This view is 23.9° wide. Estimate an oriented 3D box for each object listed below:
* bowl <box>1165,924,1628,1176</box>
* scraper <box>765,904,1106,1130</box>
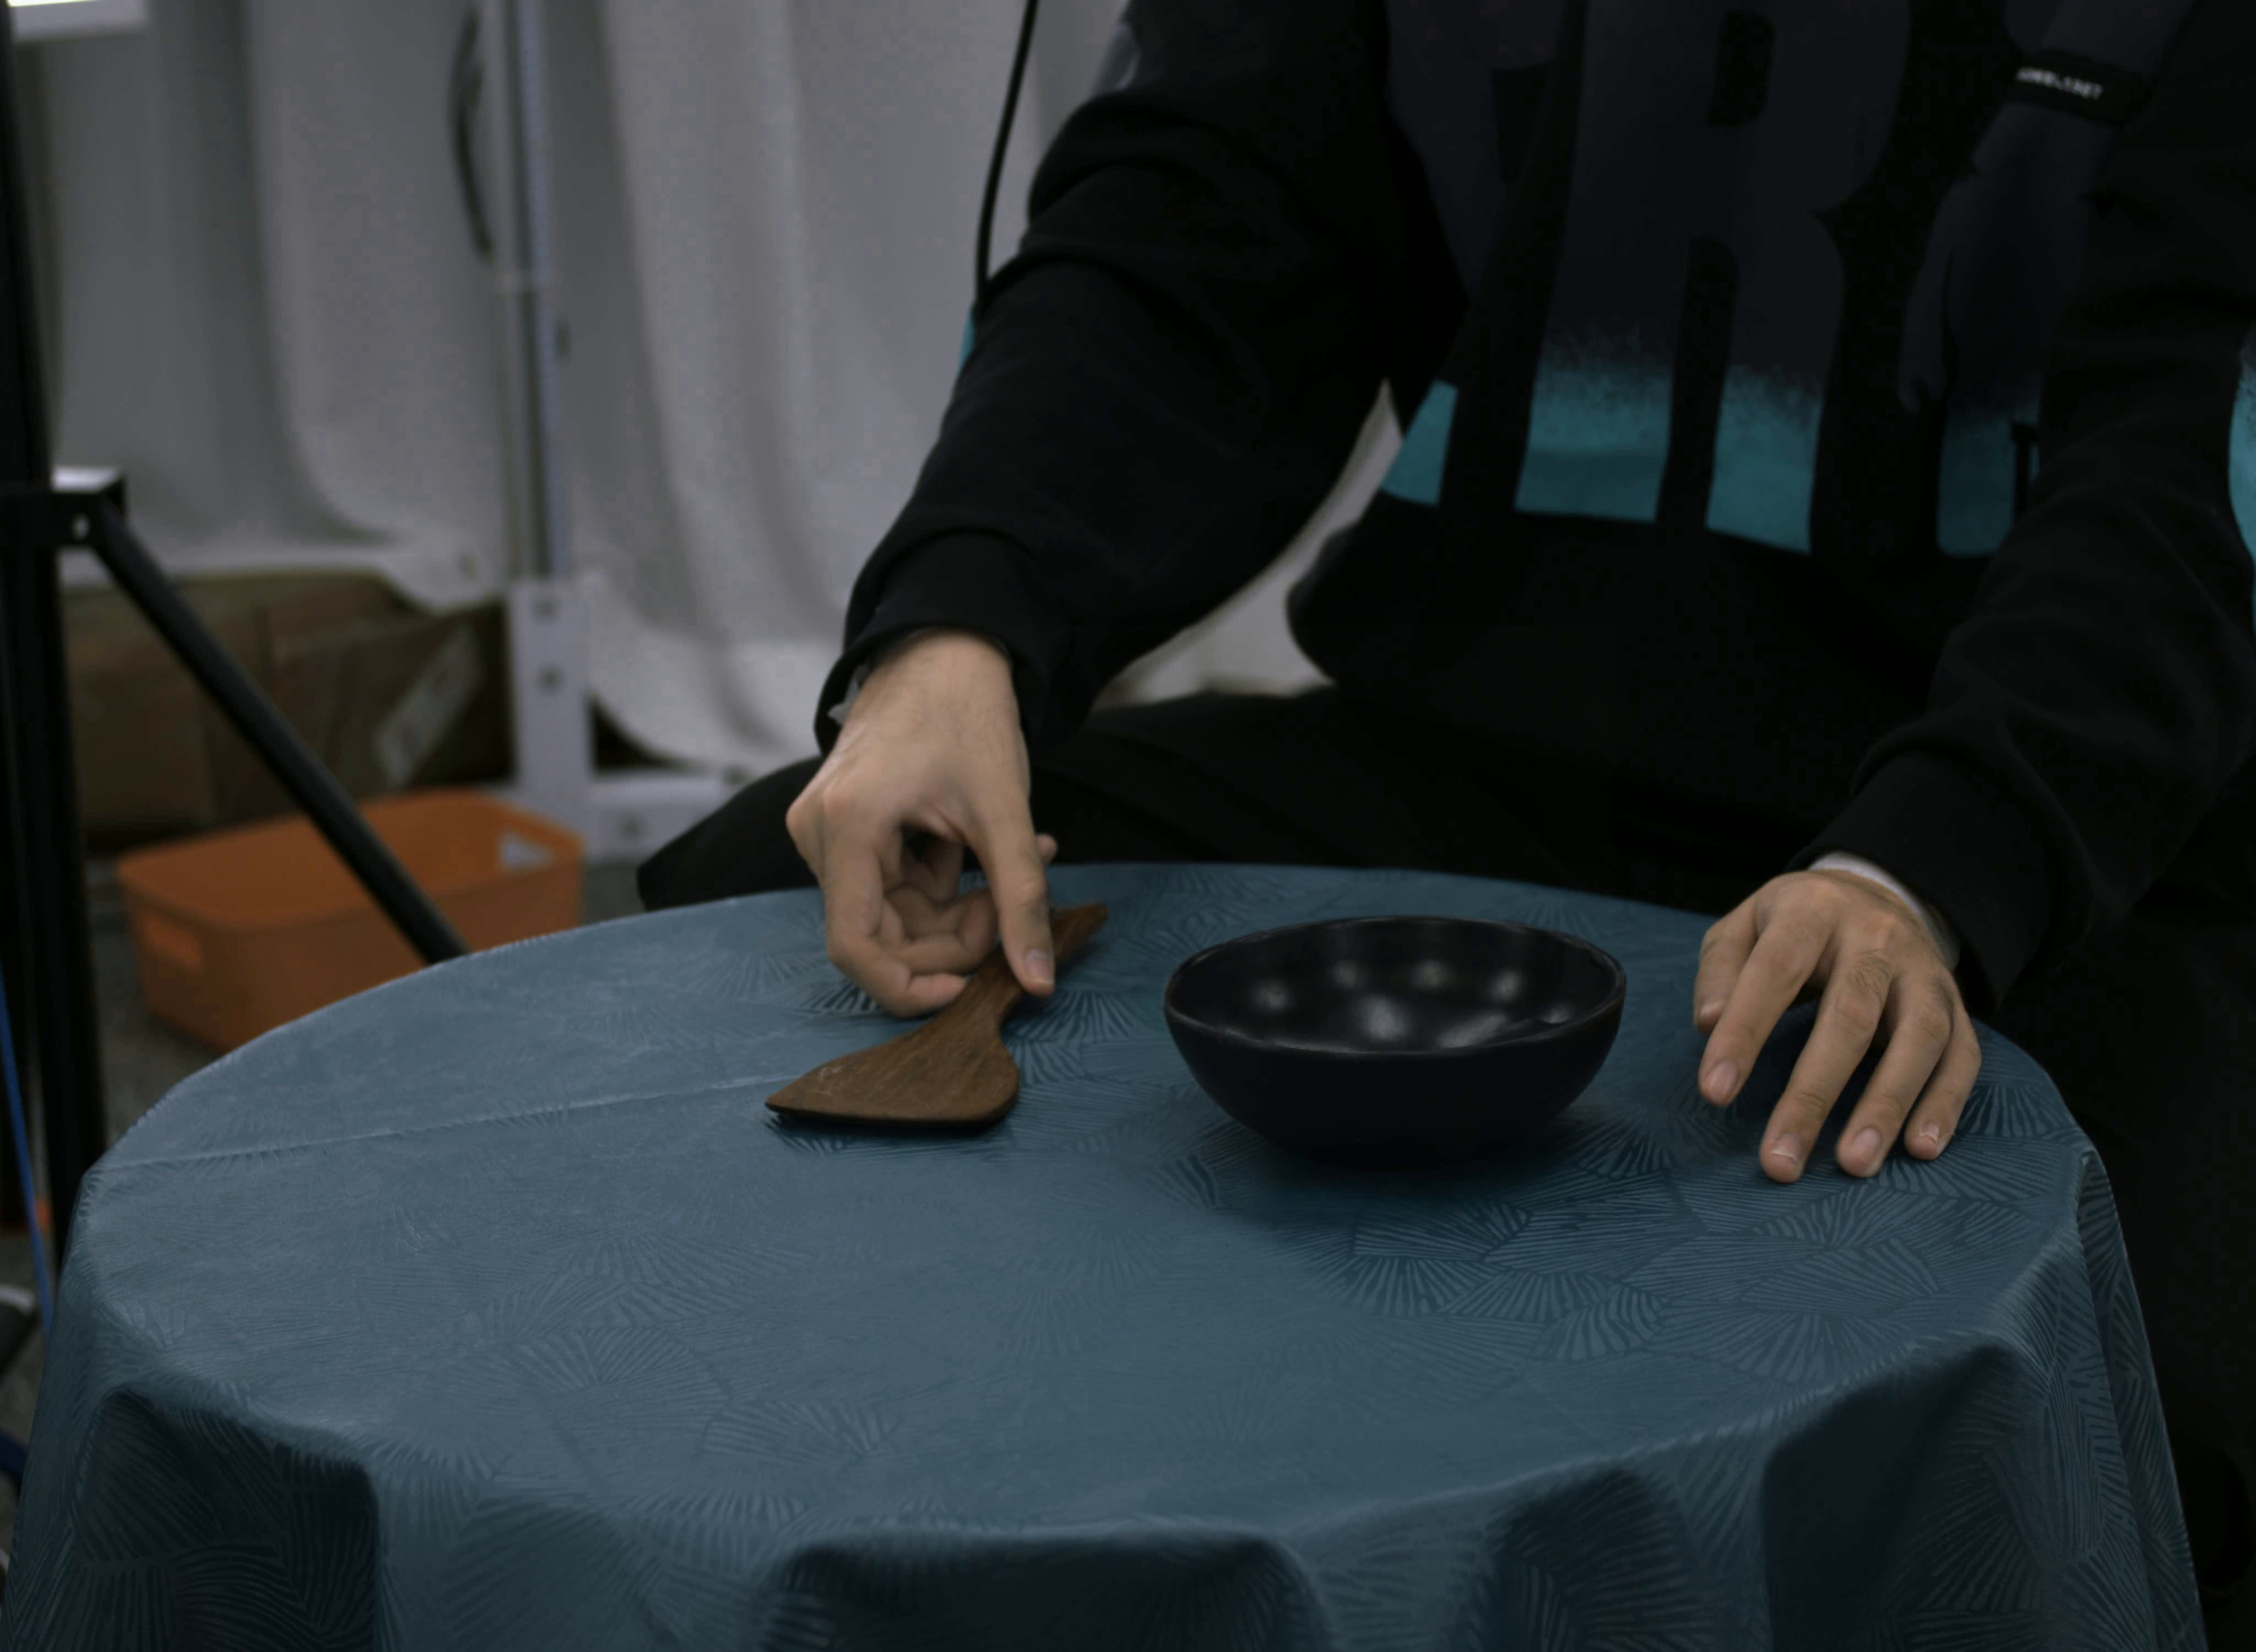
[{"bbox_3d":[0.082,0.071,1.589,0.139,0.050,0.140,-5,14,0],"label":"bowl"},{"bbox_3d":[-0.049,0.061,1.710,0.076,0.011,0.209,3,19,17],"label":"scraper"}]
